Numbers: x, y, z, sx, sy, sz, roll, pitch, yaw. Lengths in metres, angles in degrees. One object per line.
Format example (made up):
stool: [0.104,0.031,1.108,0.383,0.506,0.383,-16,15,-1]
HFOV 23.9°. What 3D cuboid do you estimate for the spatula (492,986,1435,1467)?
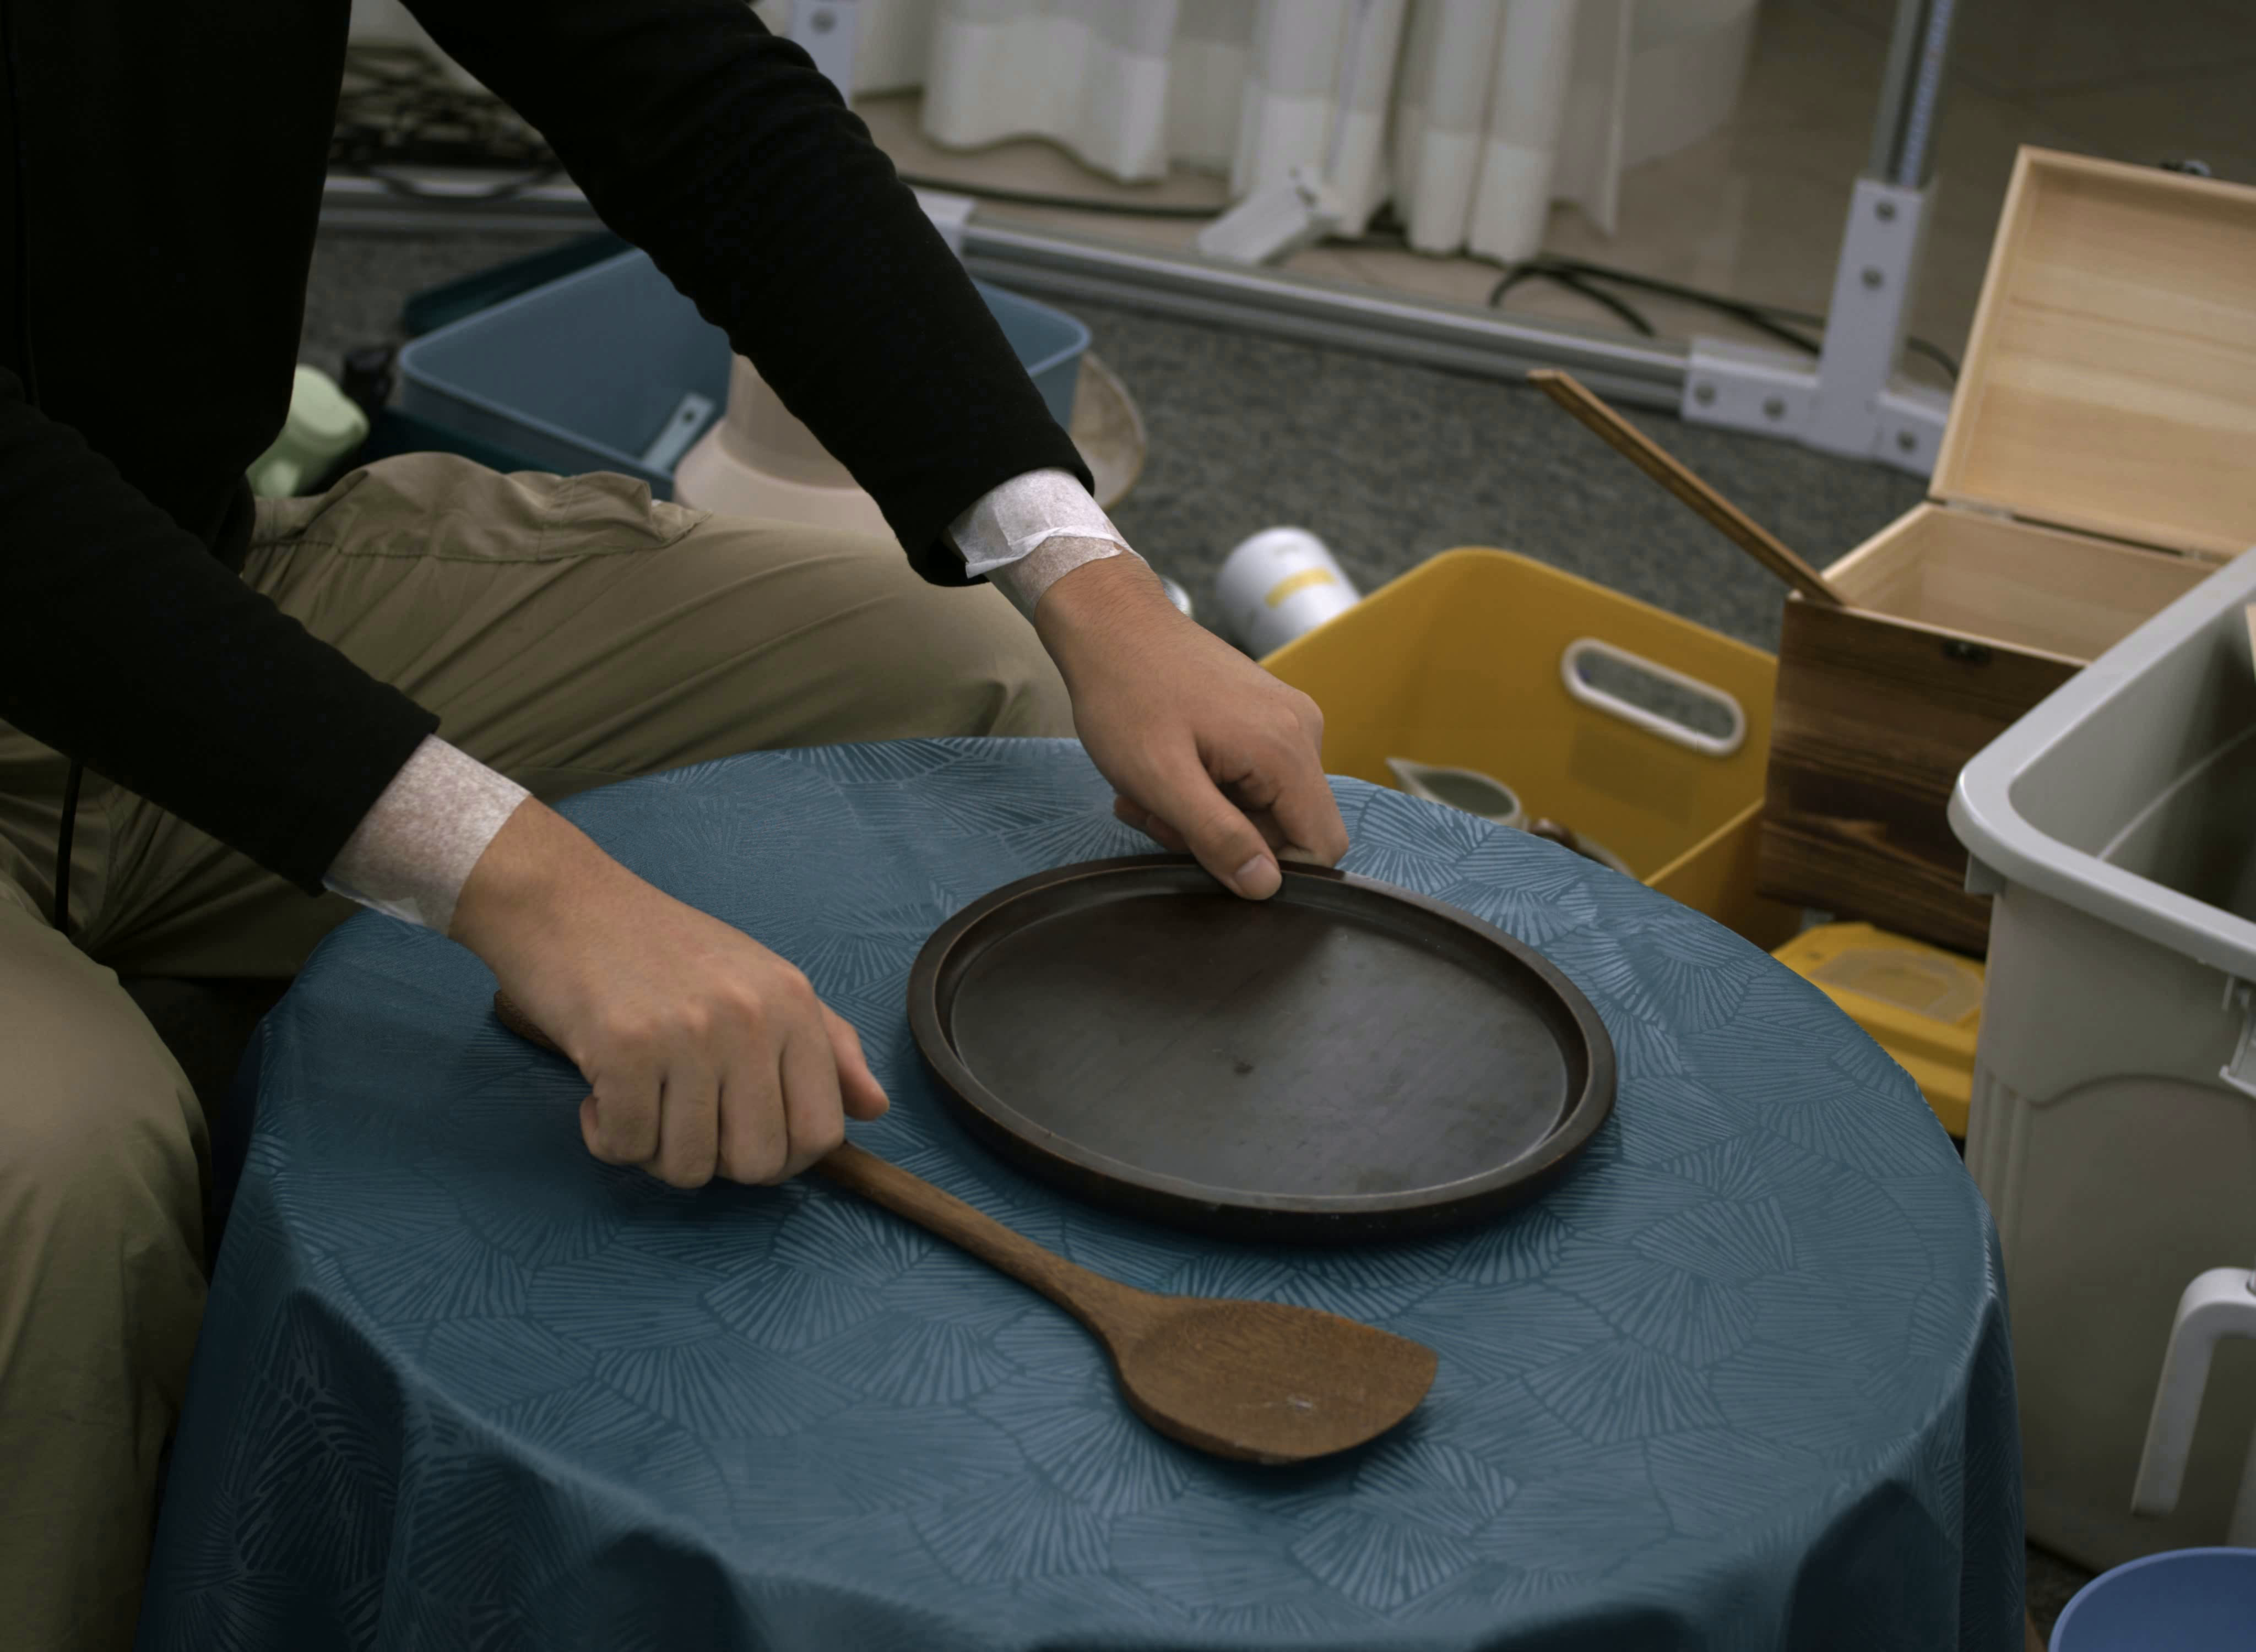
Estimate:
spatula: [-0.070,0.125,1.768,0.388,0.016,0.096,24,31,31]

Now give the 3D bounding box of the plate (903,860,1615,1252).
plate: [0.045,0.079,1.876,0.254,0.029,0.256,6,28,-4]
